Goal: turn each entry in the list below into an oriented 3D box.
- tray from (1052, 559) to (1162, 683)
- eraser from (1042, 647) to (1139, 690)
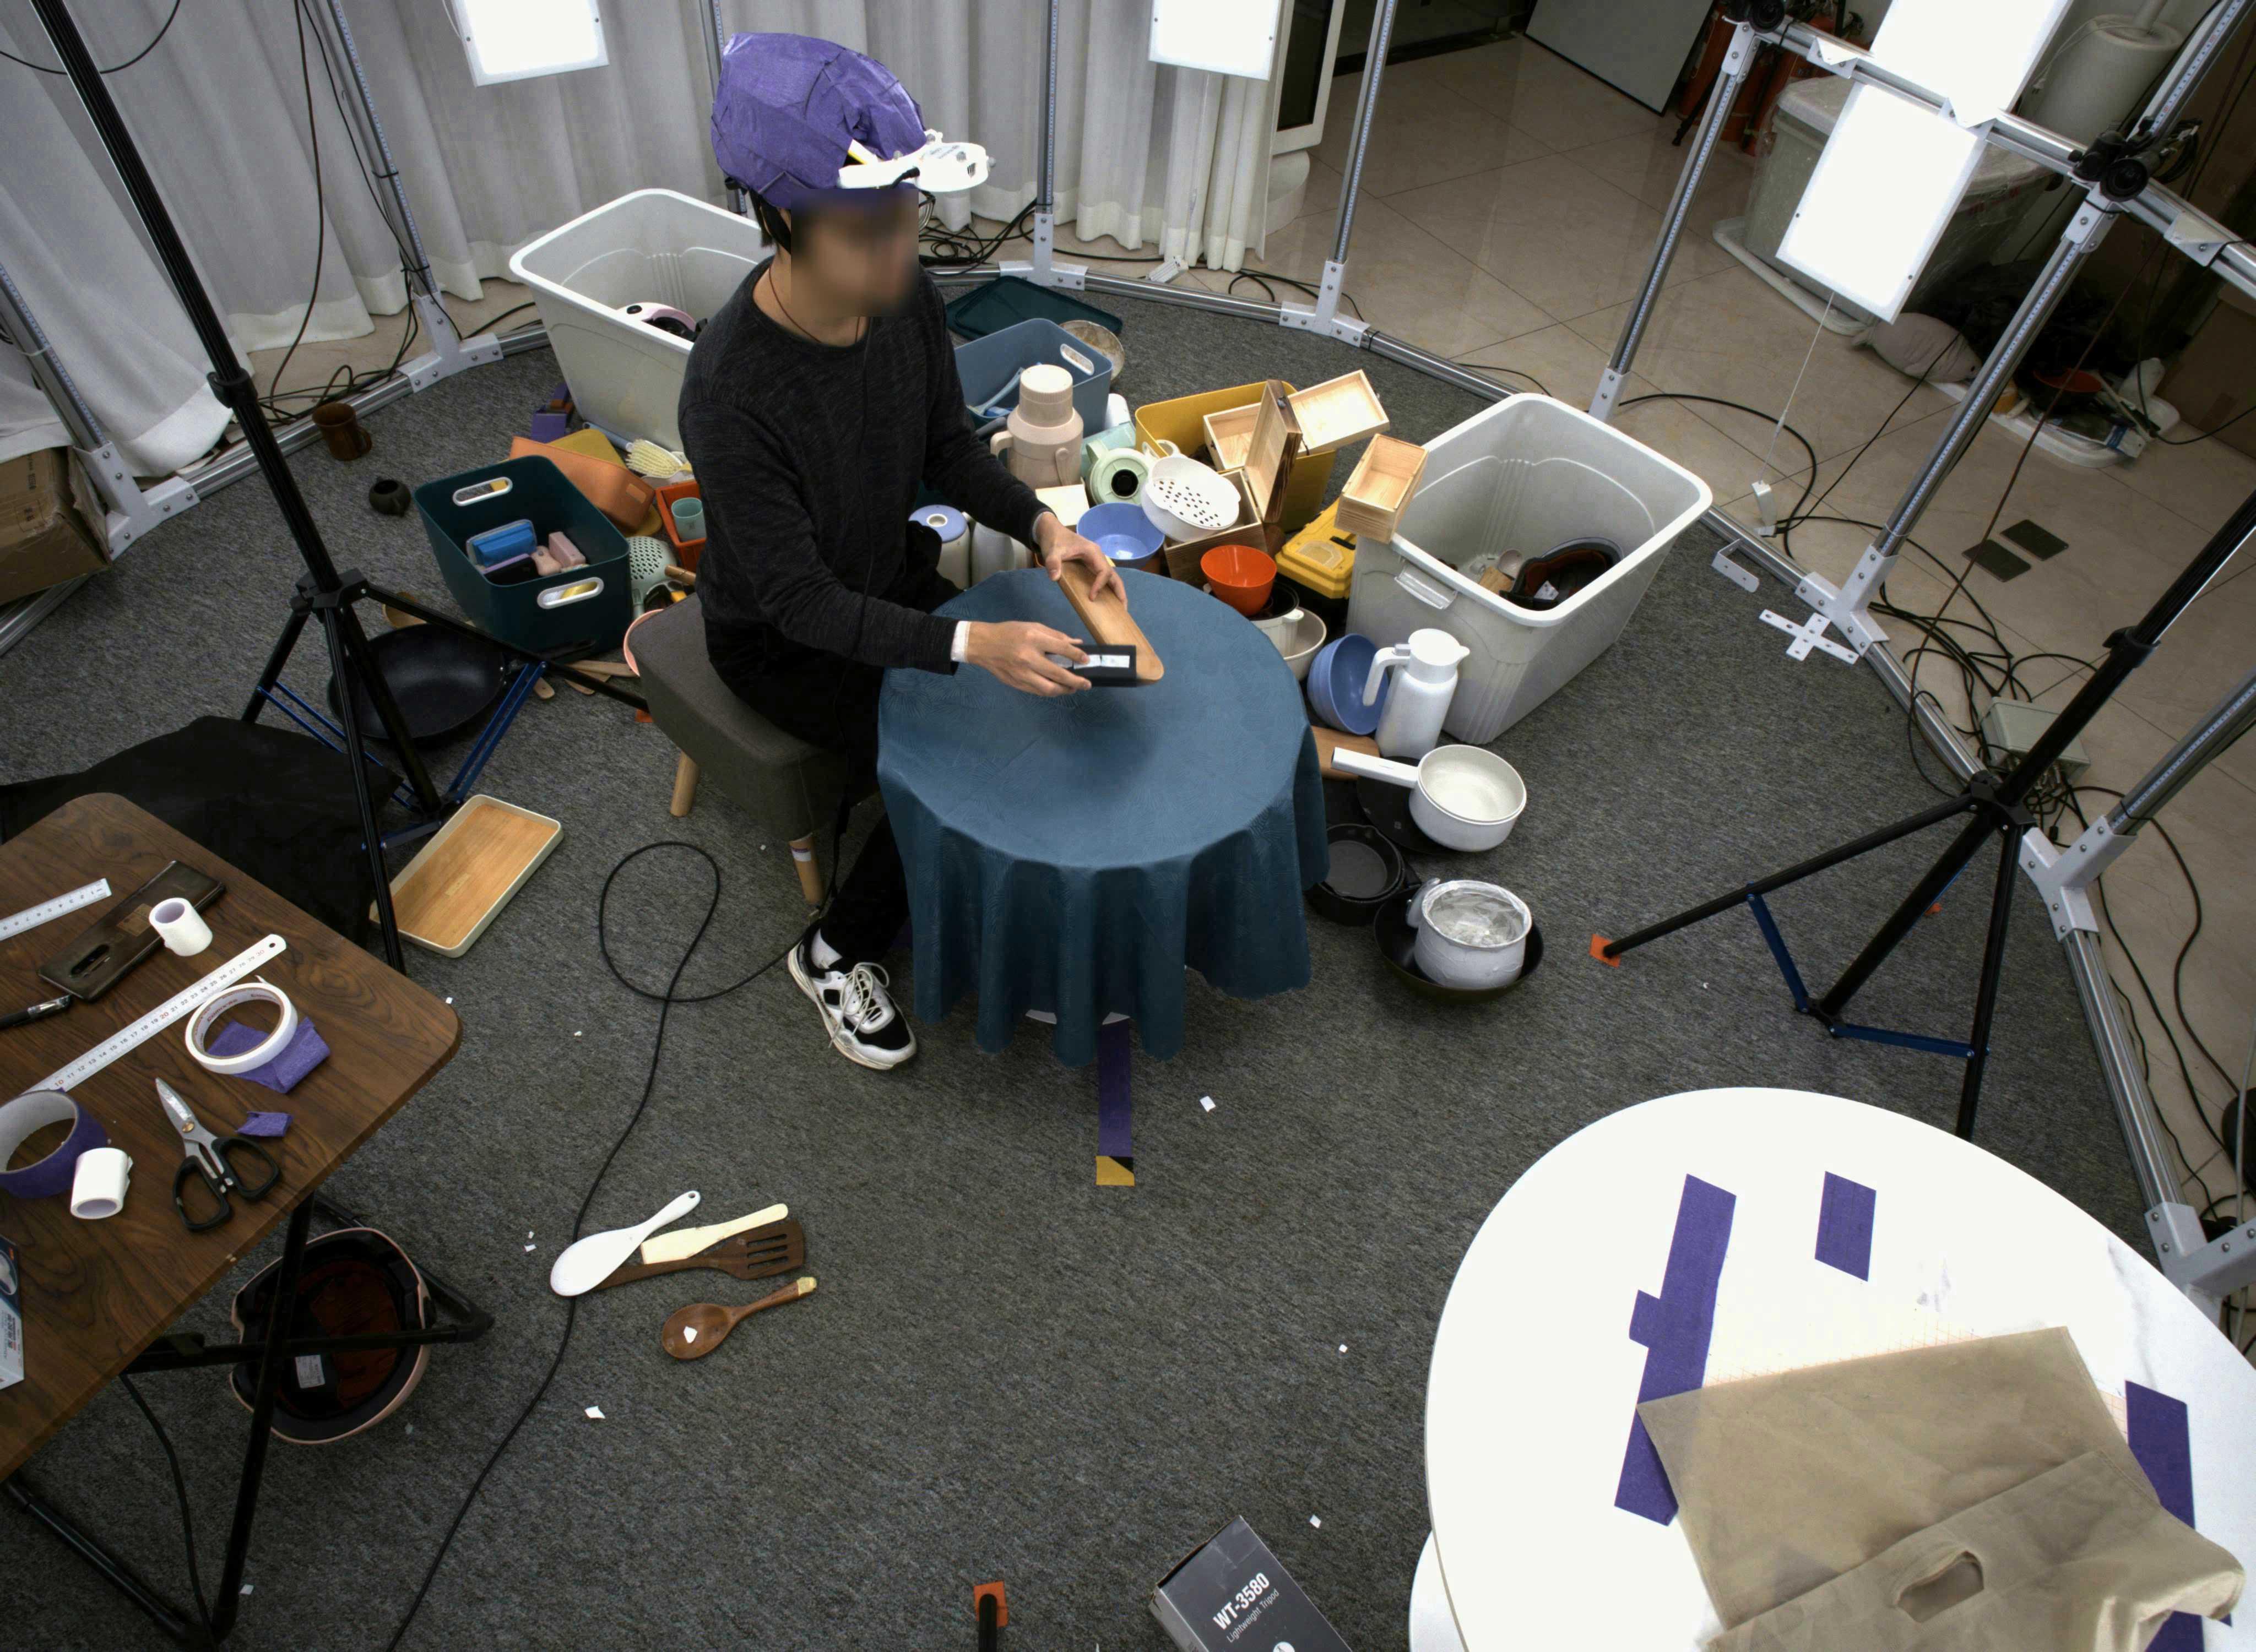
[{"bbox_3d":[-0.031,-0.283,1.766,0.101,0.020,0.235,4,44,-50],"label":"tray"},{"bbox_3d":[-0.049,-0.206,1.669,0.125,0.030,0.054,-1,68,-2],"label":"eraser"}]
